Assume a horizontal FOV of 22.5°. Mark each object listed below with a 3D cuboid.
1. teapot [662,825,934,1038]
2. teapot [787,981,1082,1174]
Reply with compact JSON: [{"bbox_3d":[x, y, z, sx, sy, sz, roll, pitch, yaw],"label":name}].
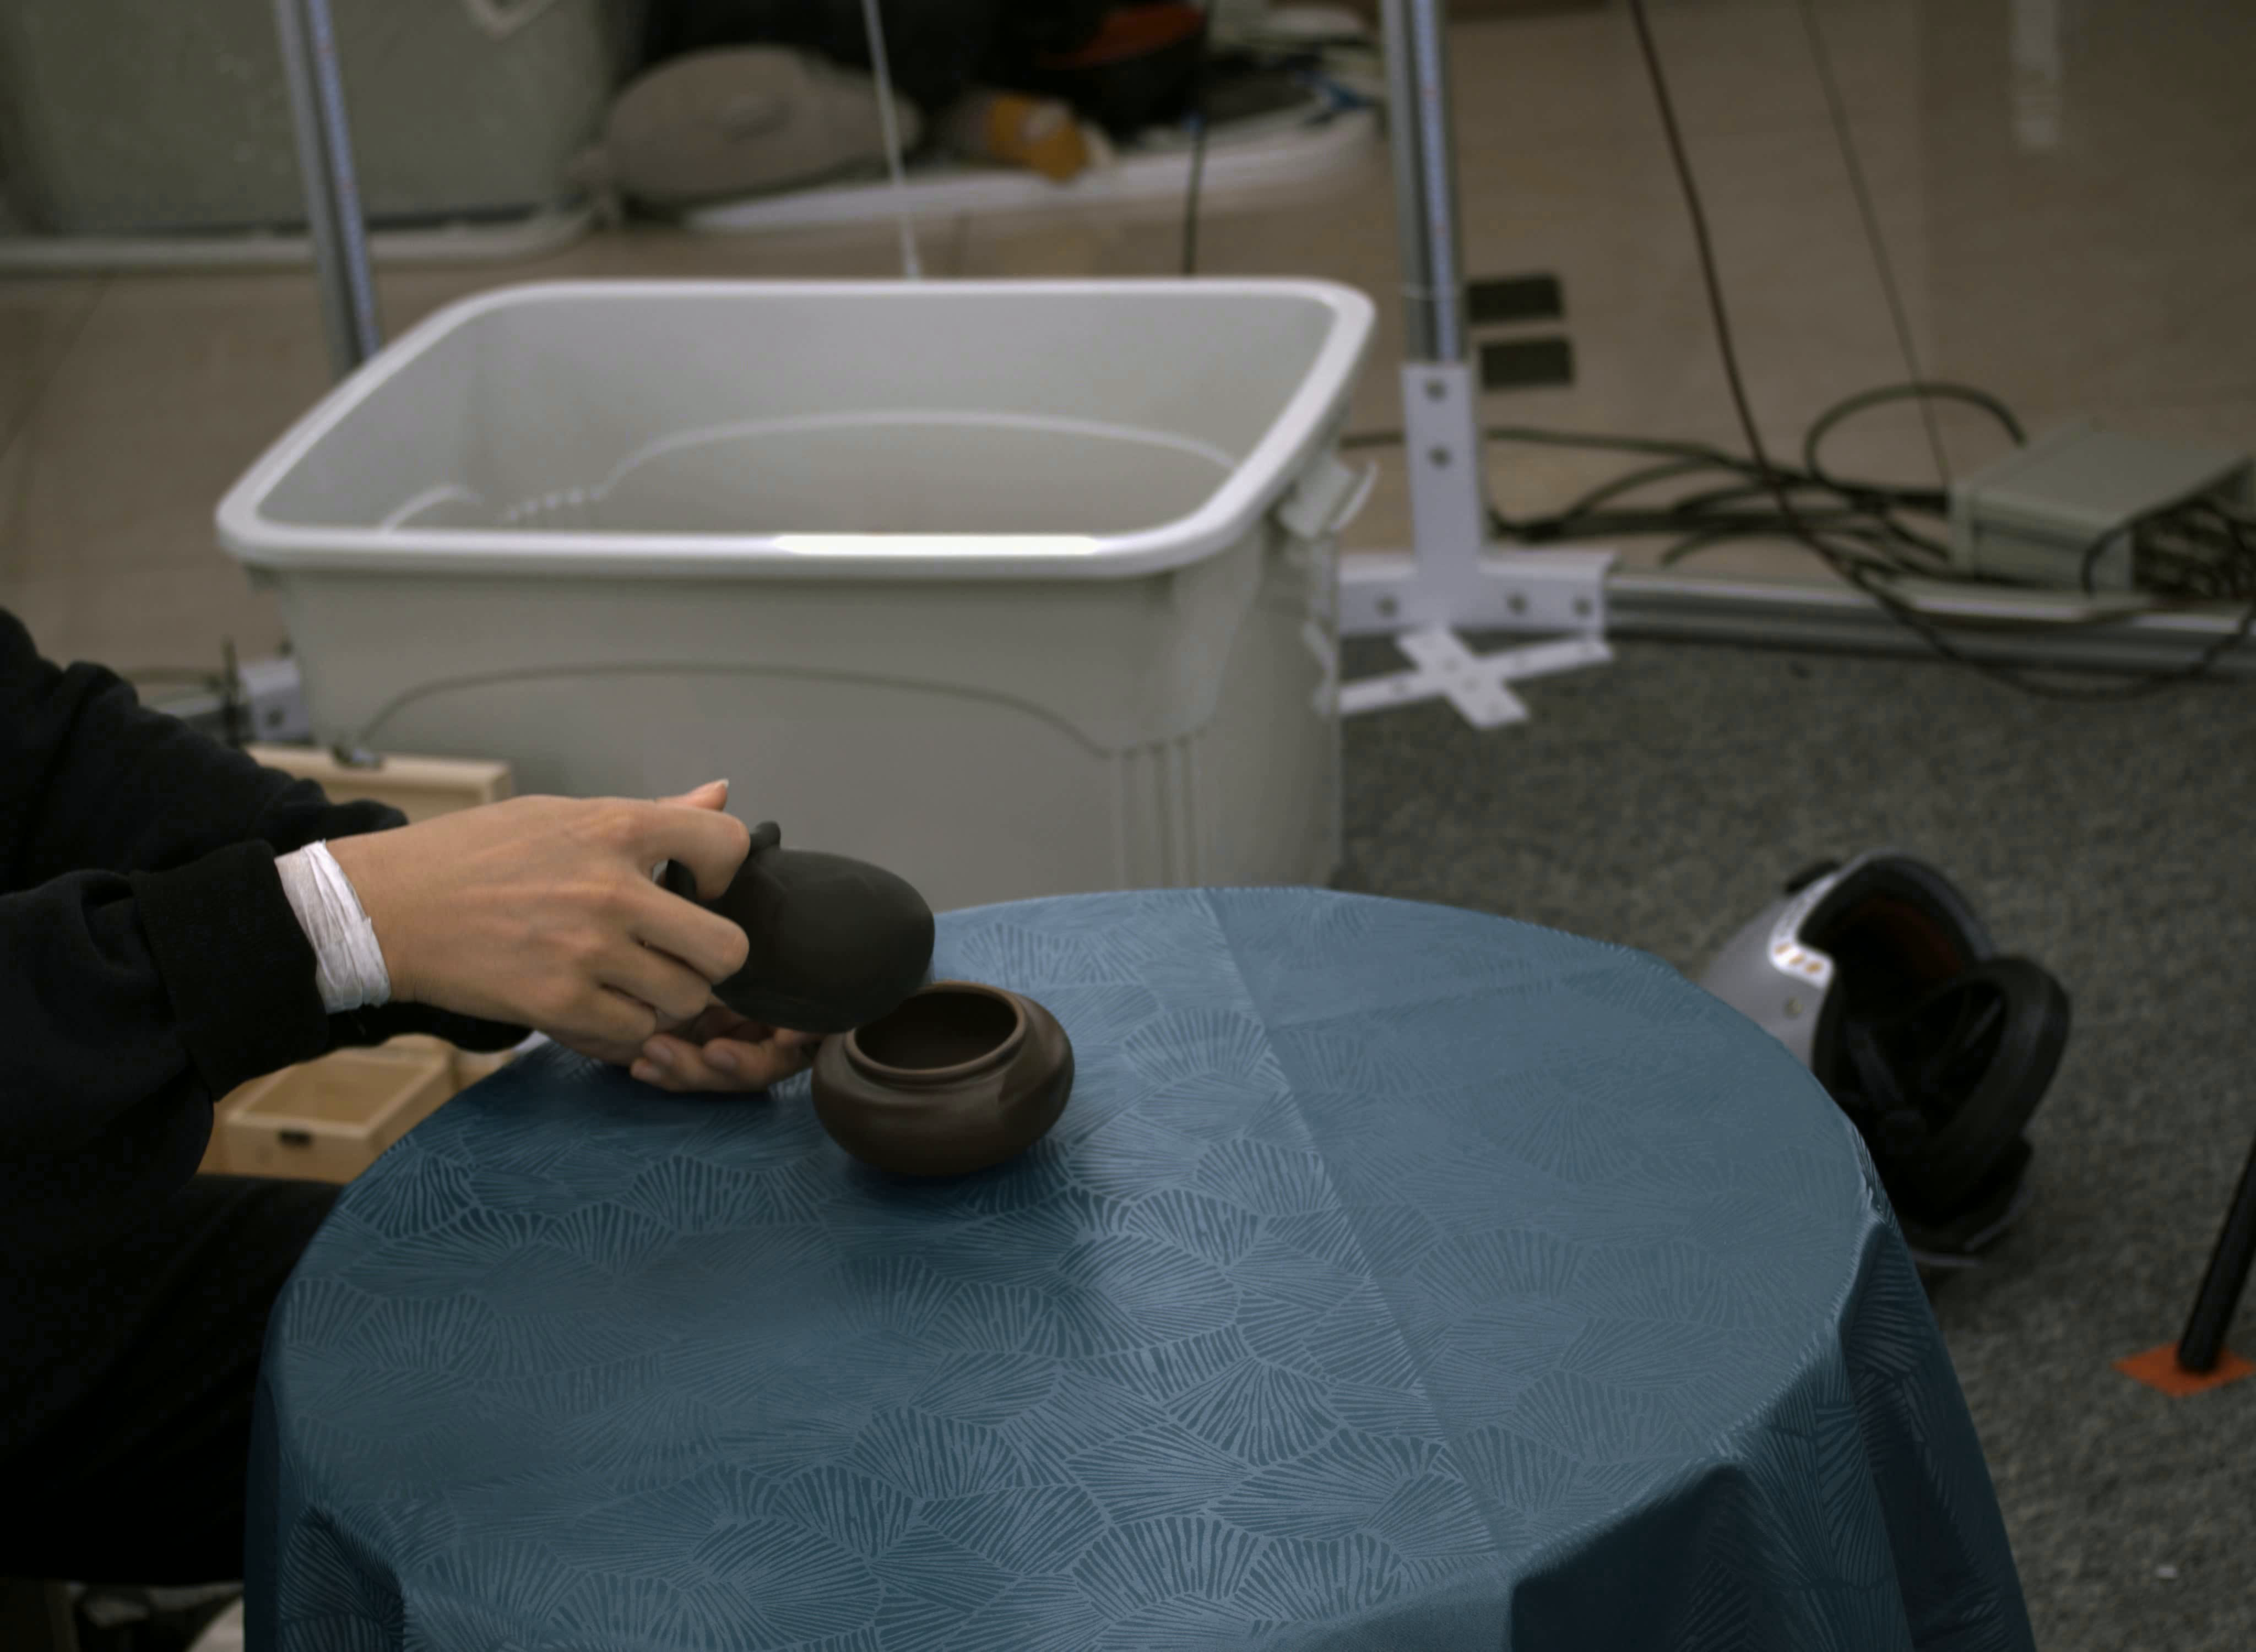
[{"bbox_3d":[-0.121,0.040,2.085,0.092,0.064,0.155,-1,-19,35],"label":"teapot"},{"bbox_3d":[-0.076,0.094,2.194,0.152,0.055,0.101,17,35,34],"label":"teapot"}]
